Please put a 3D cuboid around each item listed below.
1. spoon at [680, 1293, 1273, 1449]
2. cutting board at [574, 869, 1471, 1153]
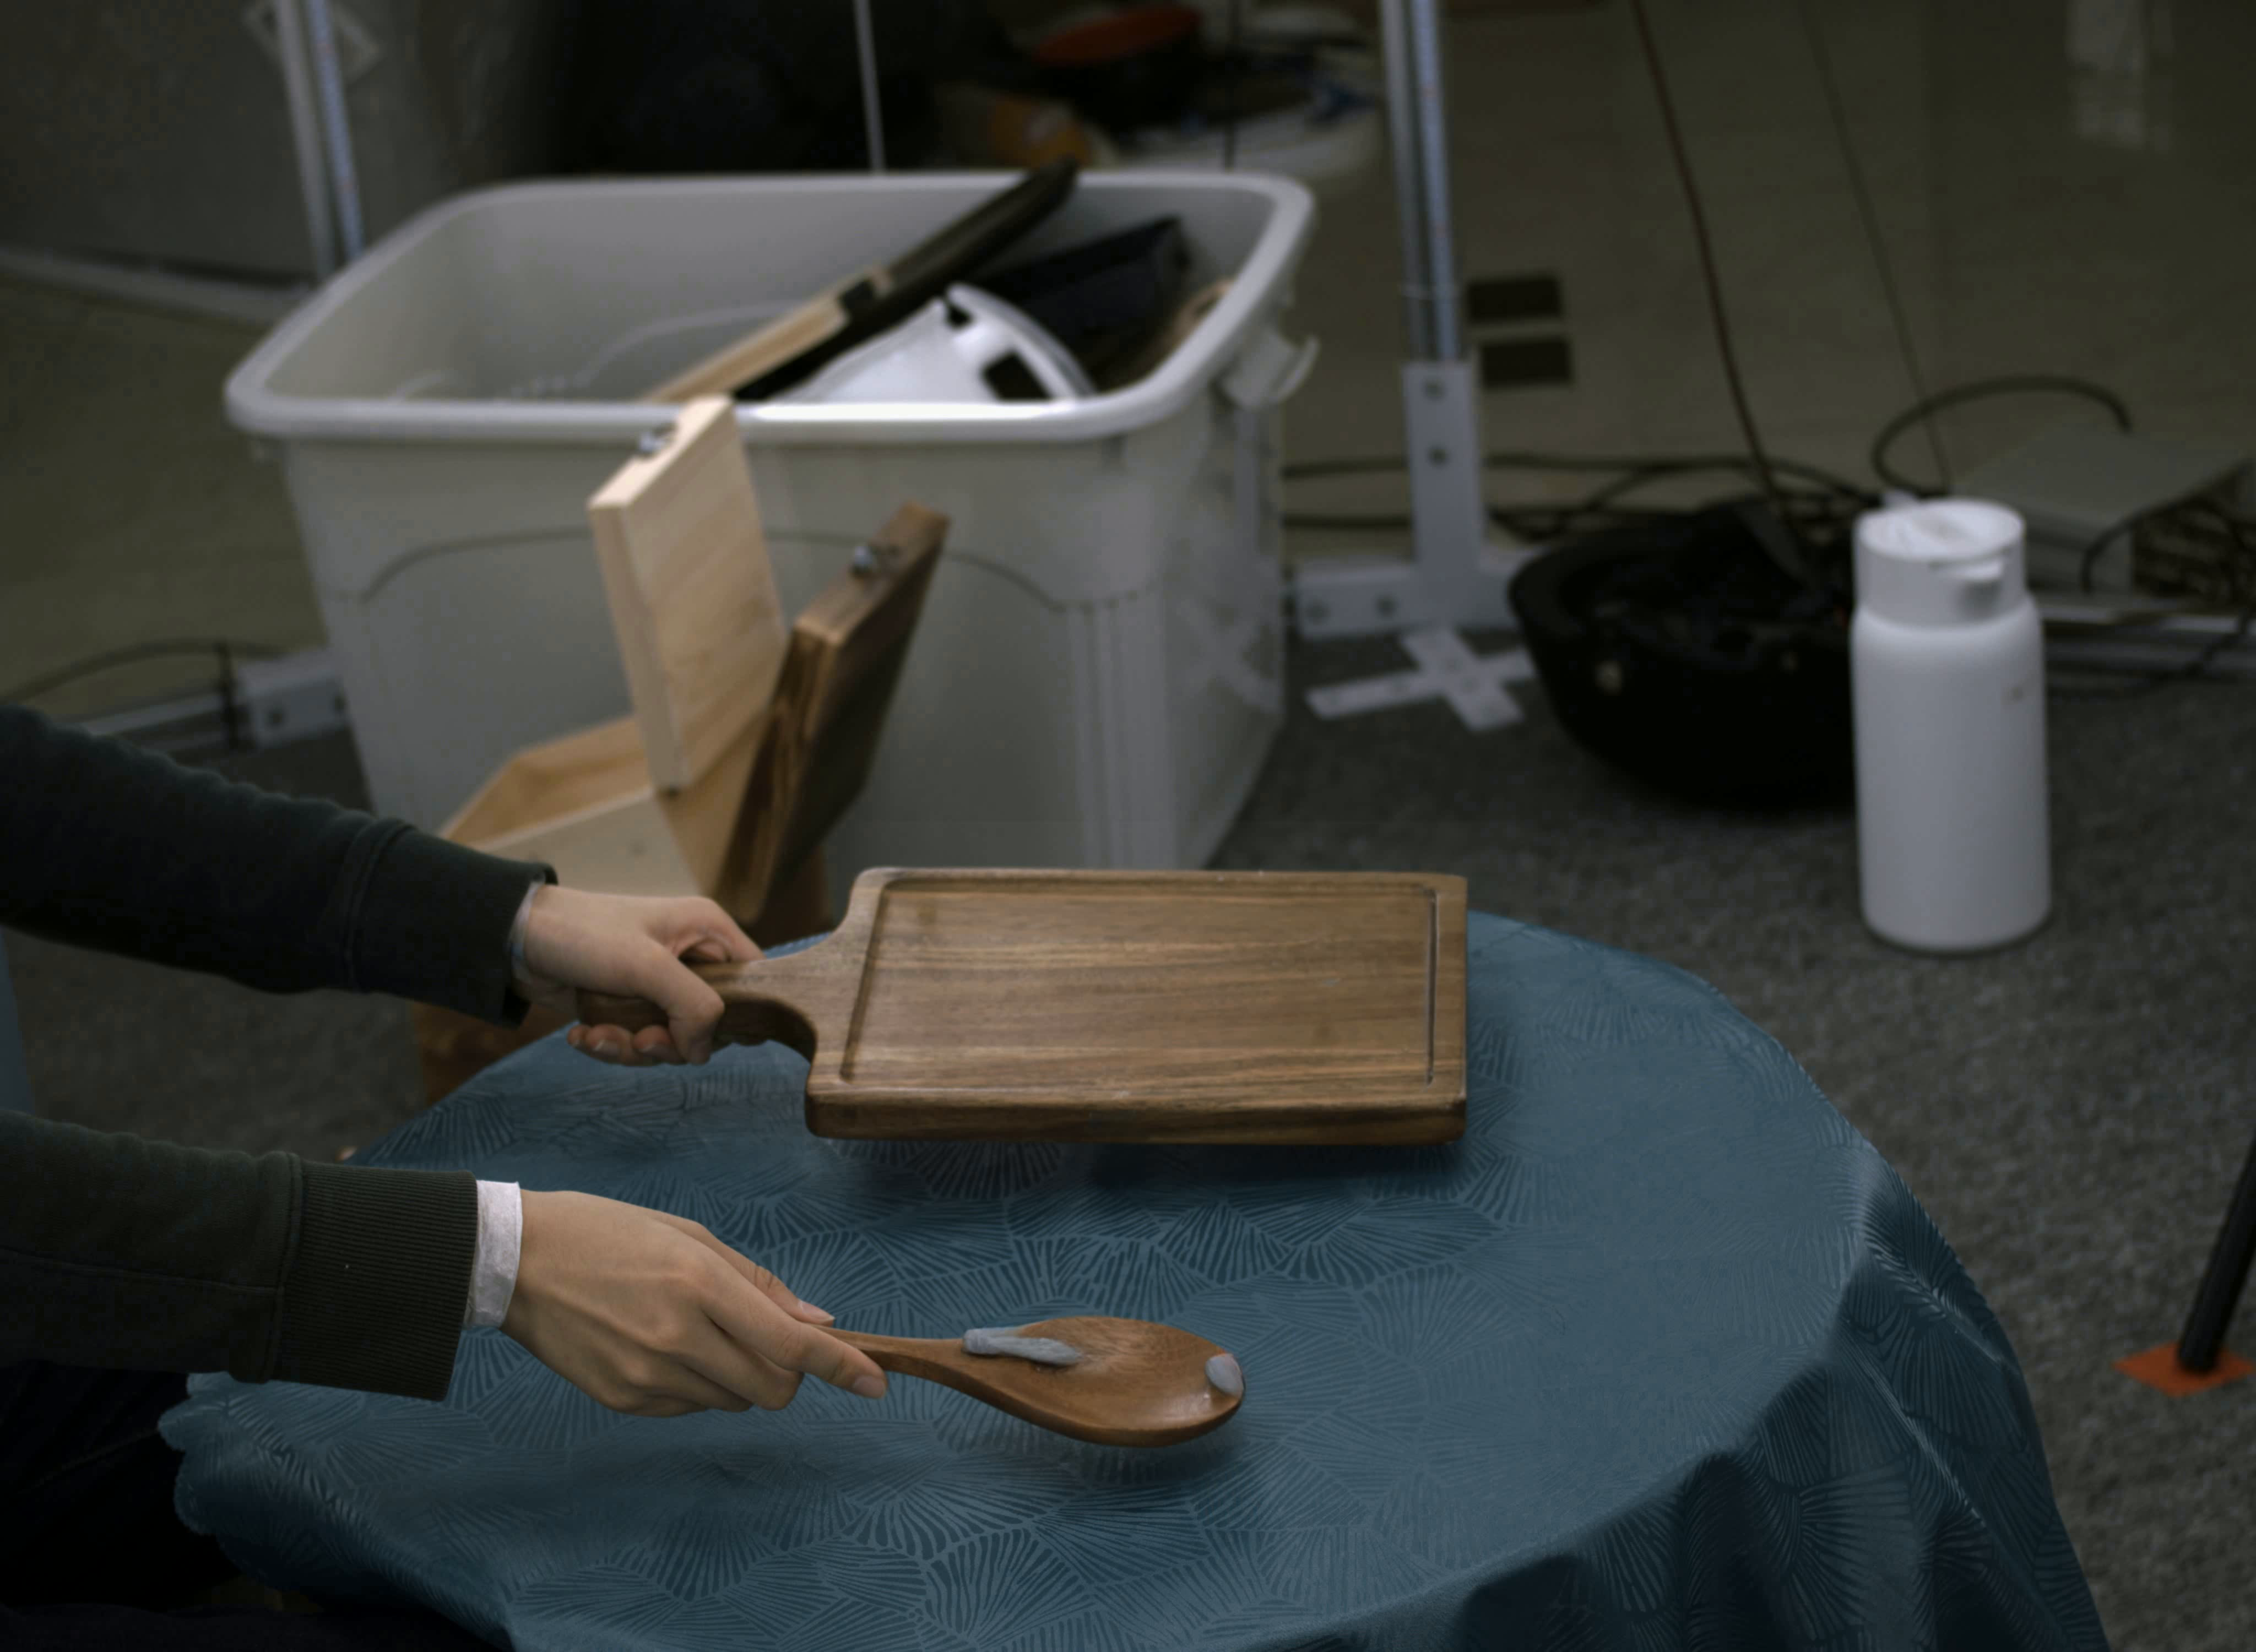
[{"bbox_3d":[-0.055,0.189,1.994,0.215,0.017,0.074,8,25,13],"label":"spoon"},{"bbox_3d":[-0.042,0.070,2.219,0.351,0.023,0.198,0,28,3],"label":"cutting board"}]
